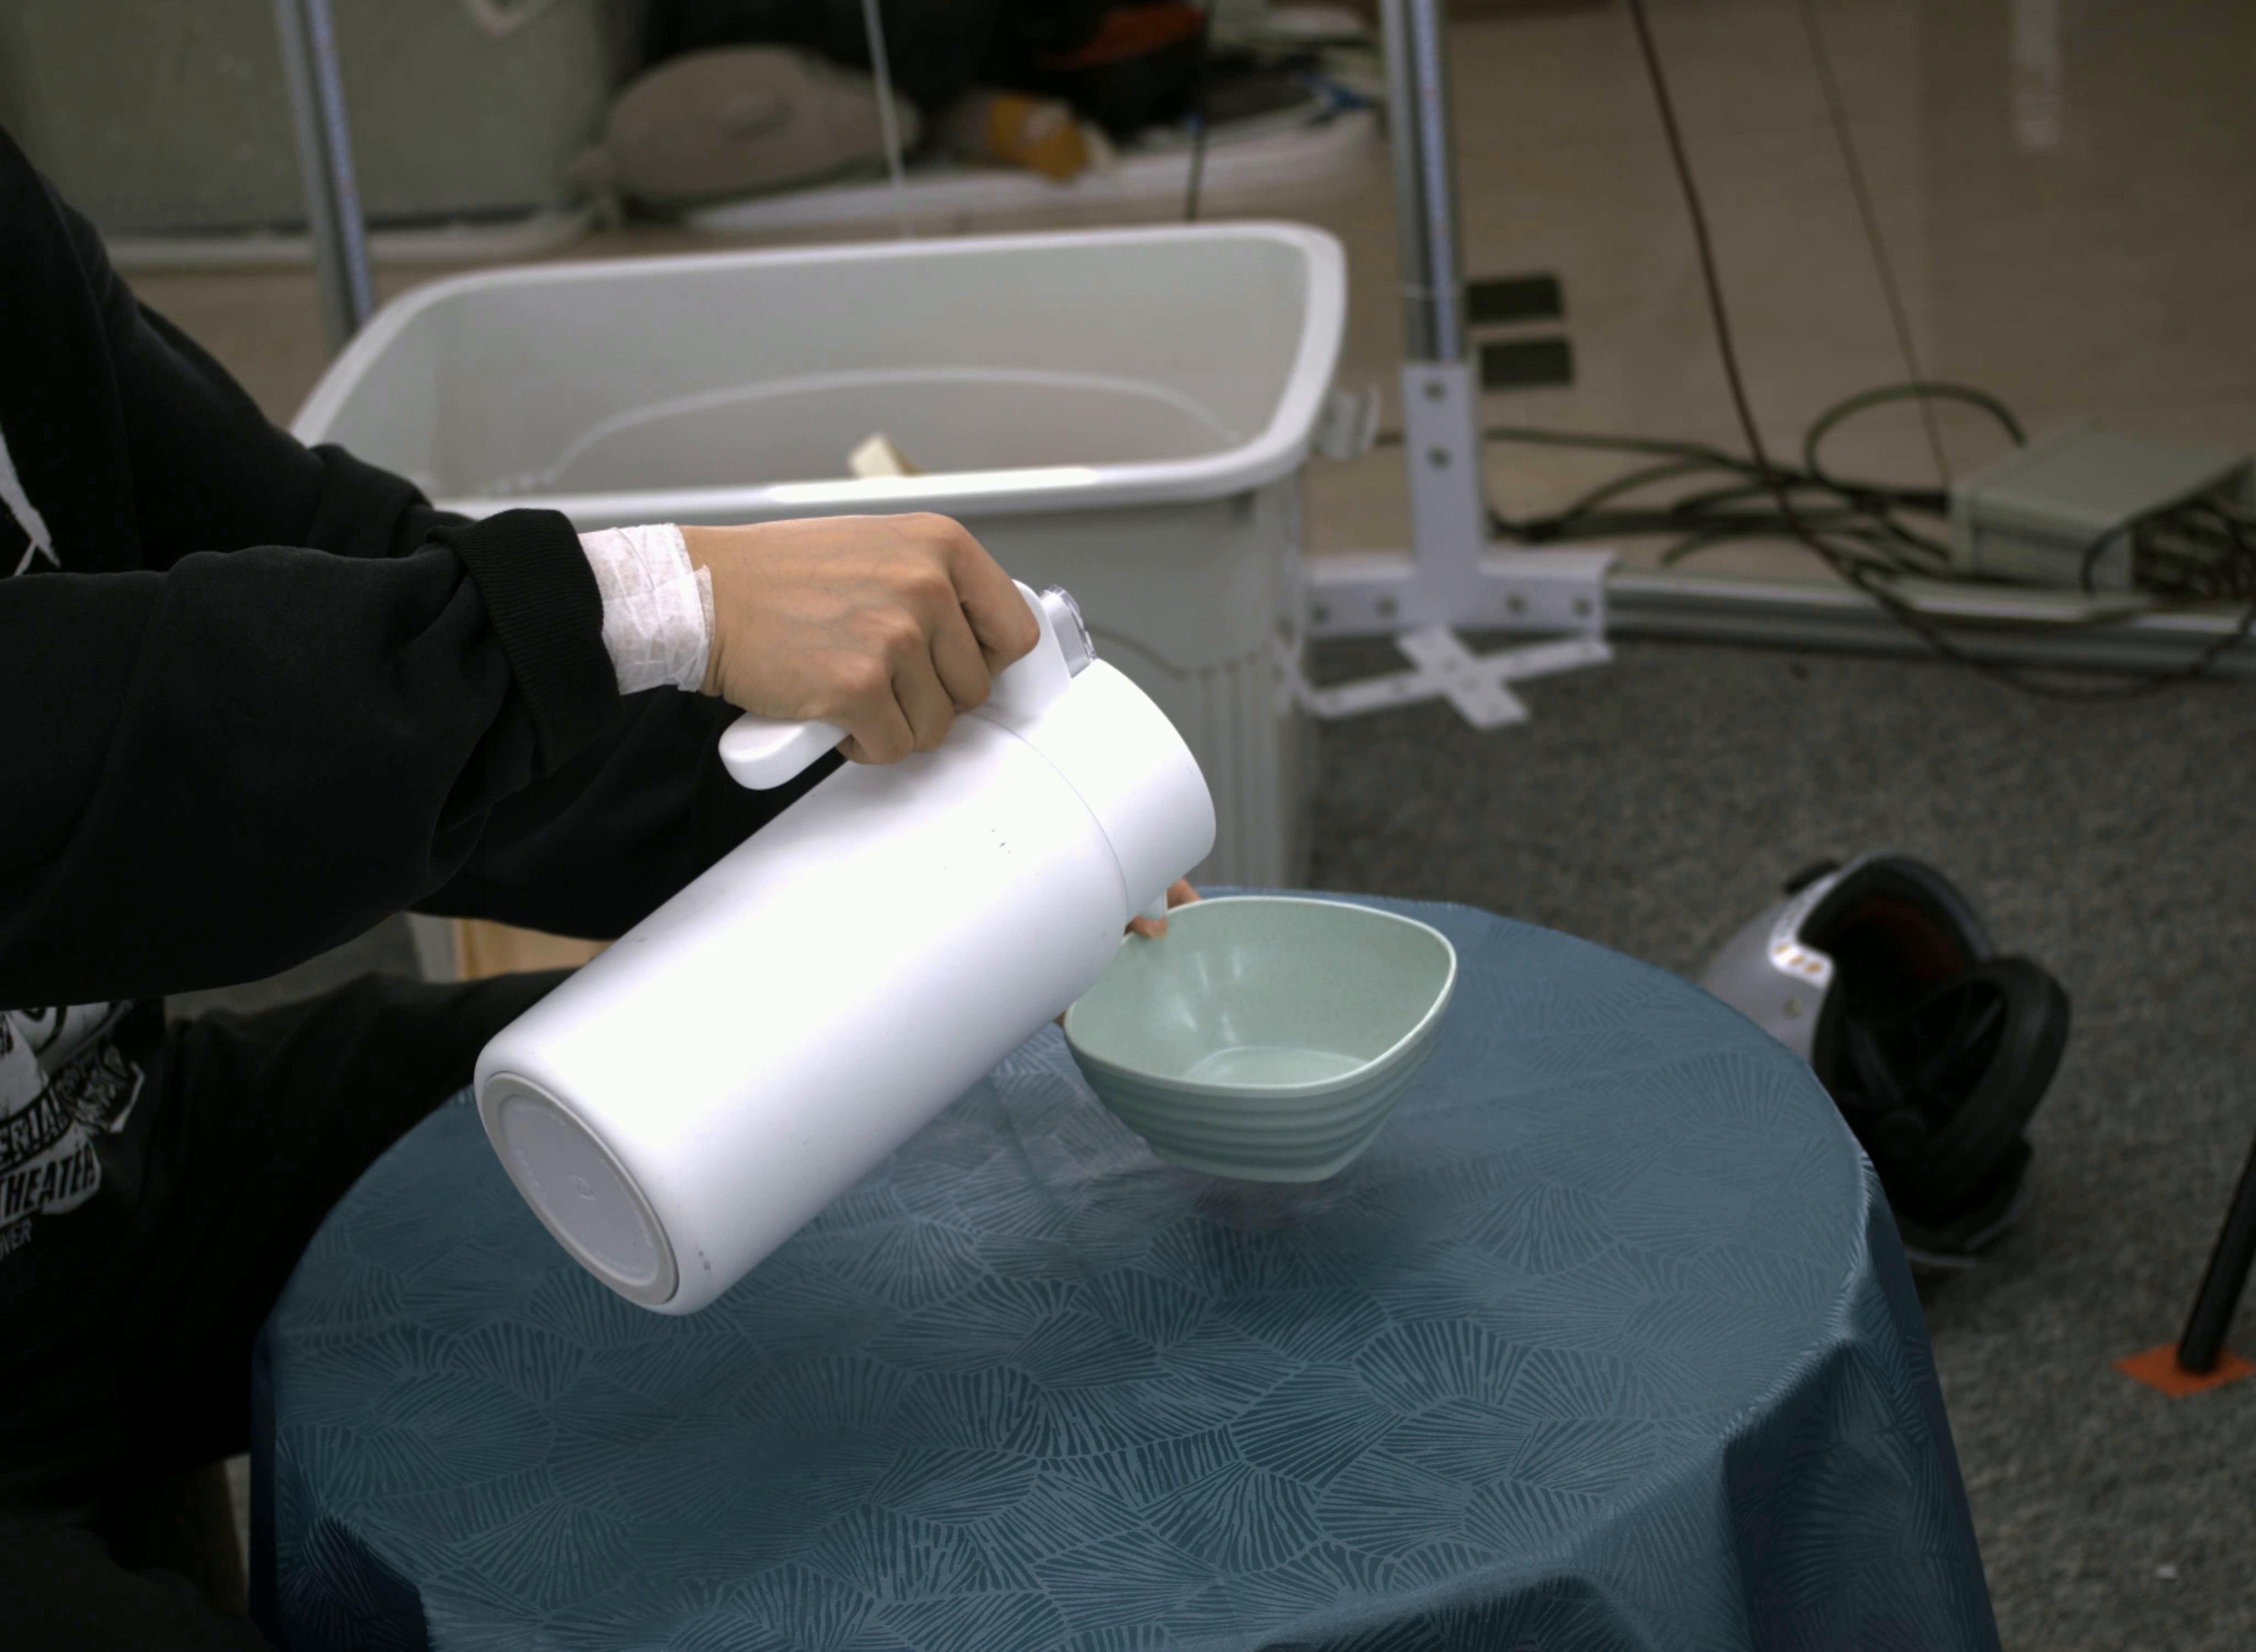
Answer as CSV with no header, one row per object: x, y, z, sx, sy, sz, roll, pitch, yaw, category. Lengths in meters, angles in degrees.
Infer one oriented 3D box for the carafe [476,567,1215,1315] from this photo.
-0.099,0.036,1.970,0.266,0.176,0.122,-38,40,-24,carafe

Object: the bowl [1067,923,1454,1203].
0.054,0.094,2.104,0.151,0.059,0.149,-9,27,5,bowl
